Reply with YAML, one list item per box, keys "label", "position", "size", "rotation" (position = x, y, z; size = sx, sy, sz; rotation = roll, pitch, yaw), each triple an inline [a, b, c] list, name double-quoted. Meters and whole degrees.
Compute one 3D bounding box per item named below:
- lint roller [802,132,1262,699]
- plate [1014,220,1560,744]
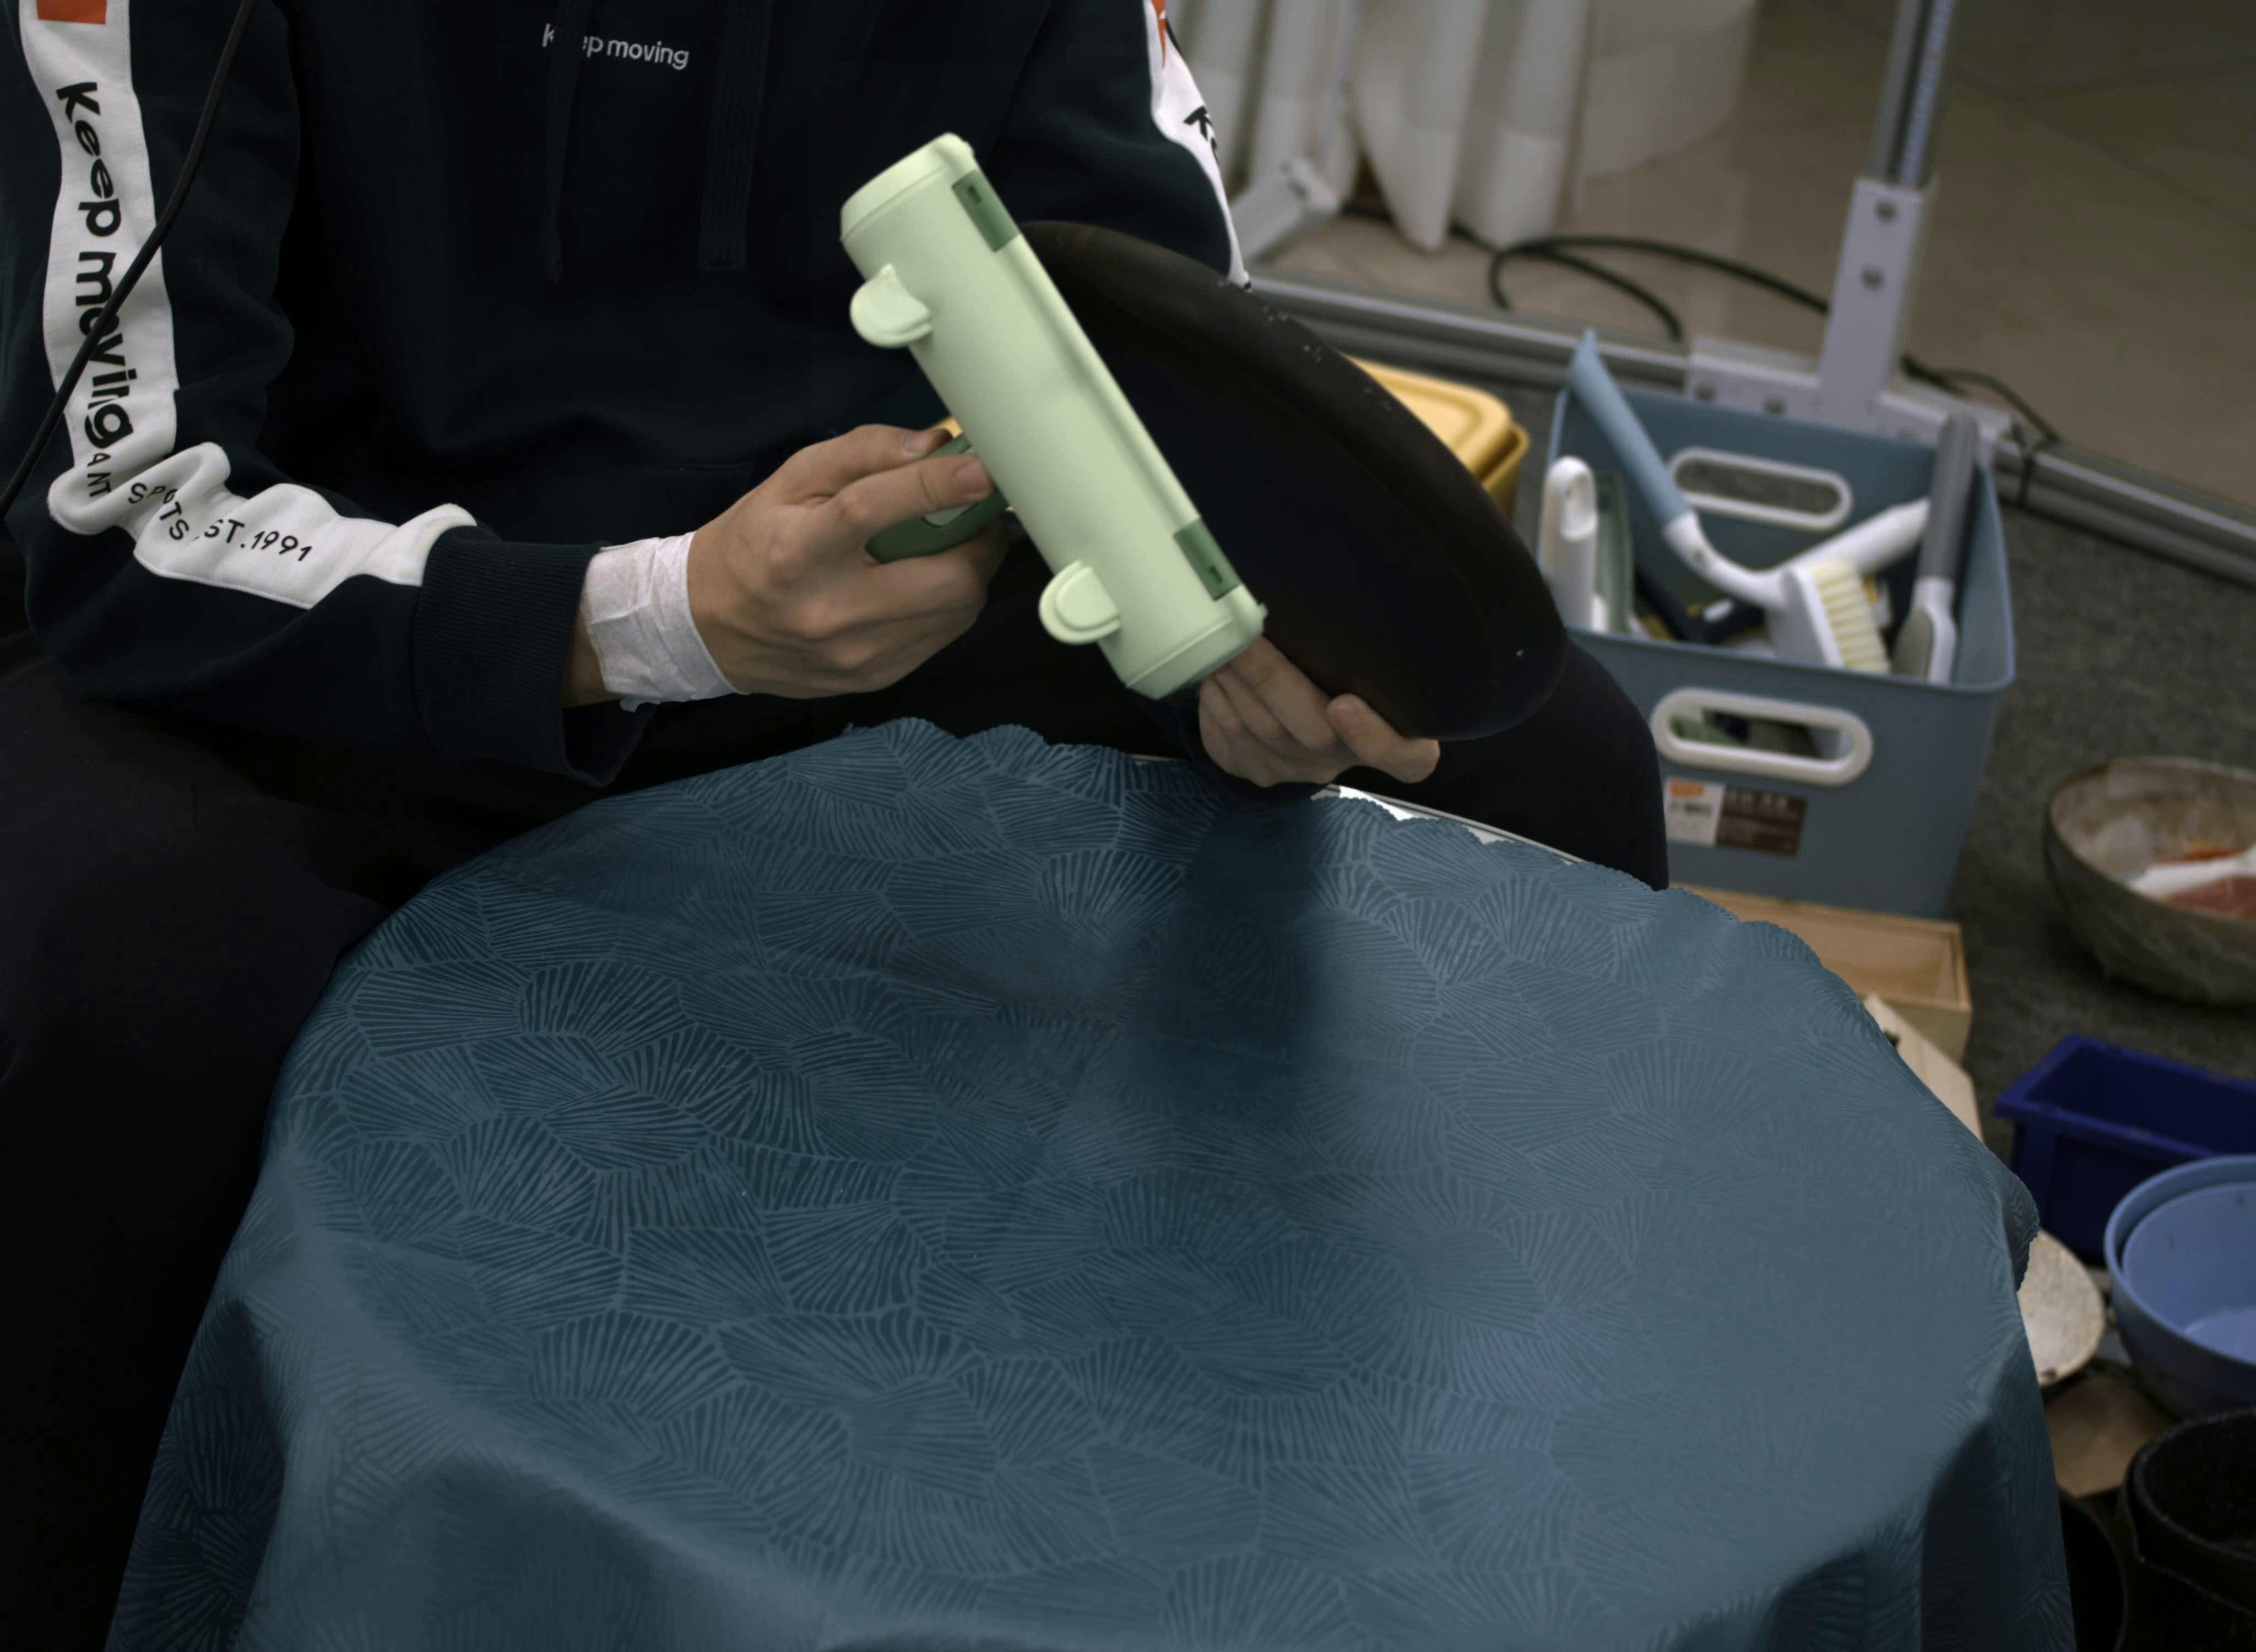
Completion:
- label: "lint roller"
  position: [-0.067, -0.110, 1.794]
  size: [0.199, 0.183, 0.082]
  rotation: [57, 39, 1]
- label: "plate"
  position: [0.039, -0.114, 1.837]
  size: [0.256, 0.252, 0.029]
  rotation: [26, 69, 32]
